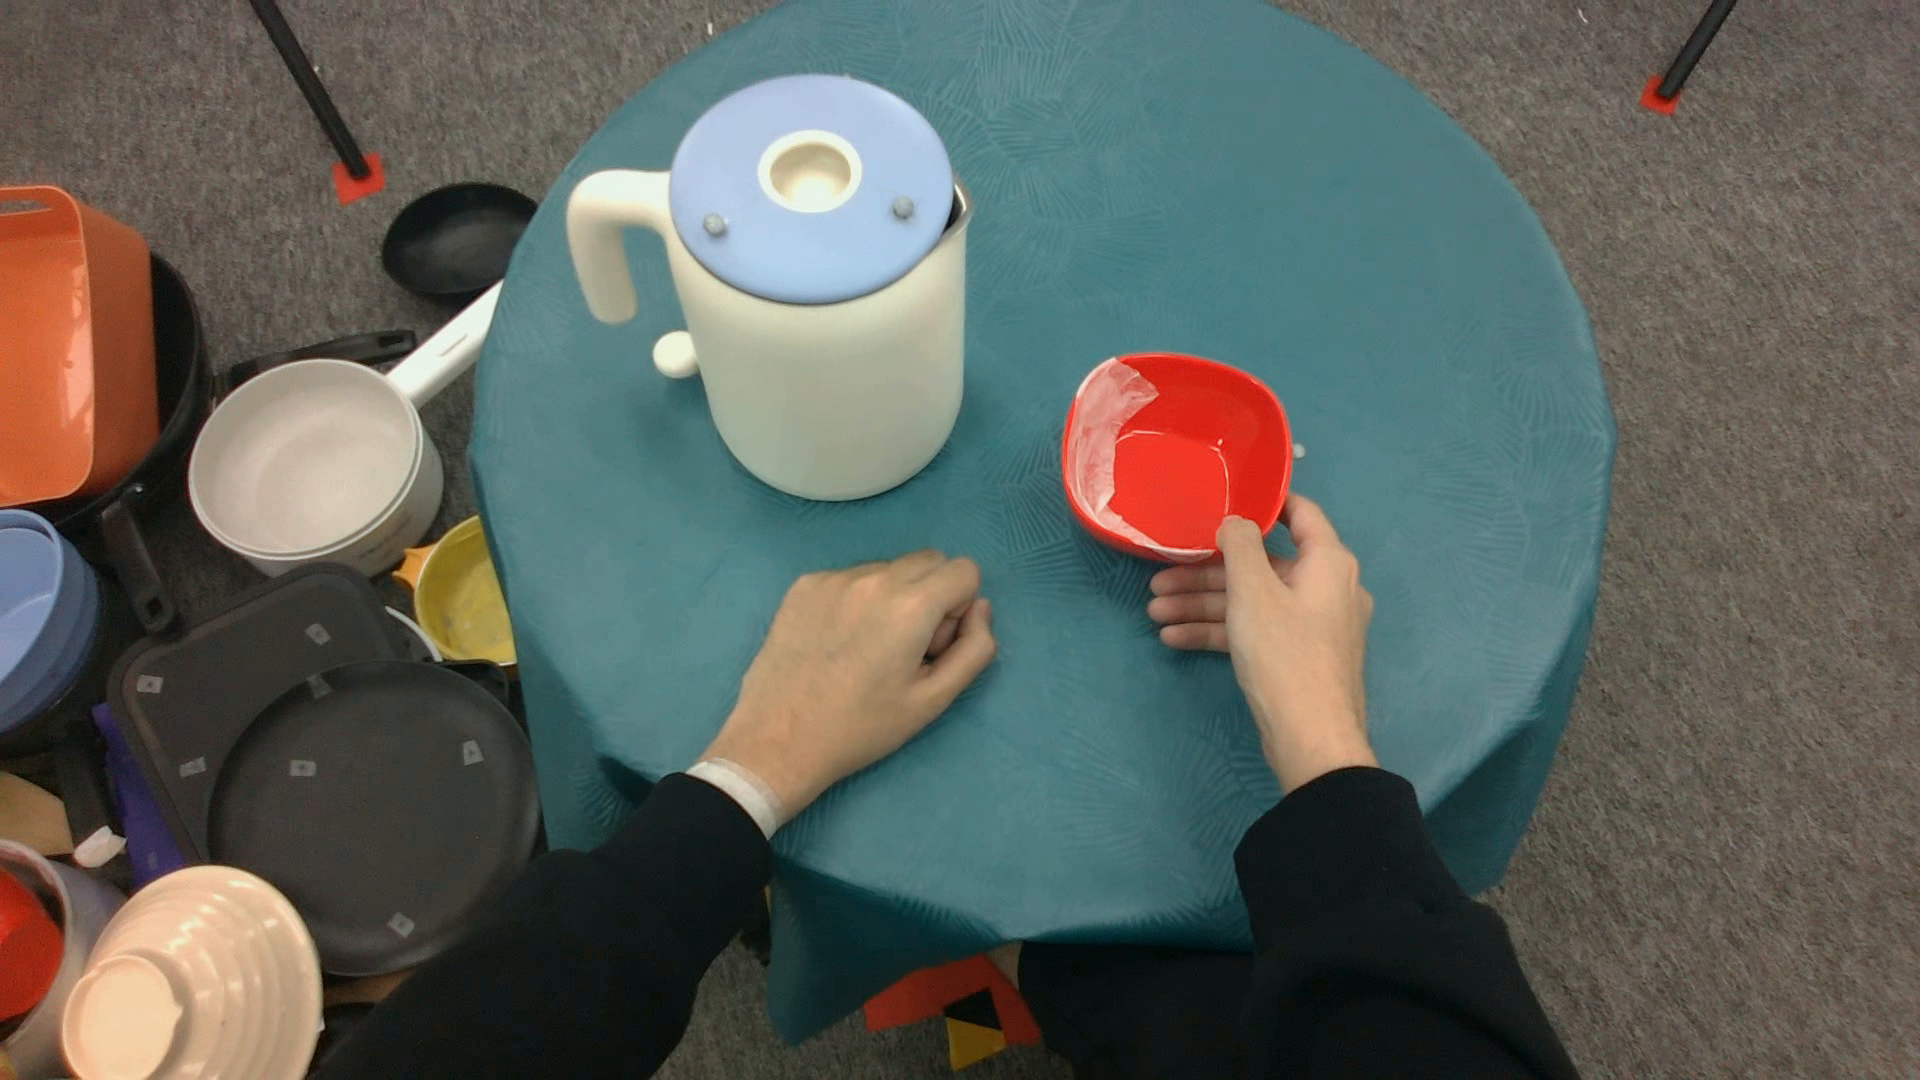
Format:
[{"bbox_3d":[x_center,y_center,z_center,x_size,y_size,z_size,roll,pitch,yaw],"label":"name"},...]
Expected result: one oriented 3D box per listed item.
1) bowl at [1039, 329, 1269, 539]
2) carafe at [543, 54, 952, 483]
[{"bbox_3d":[0.091,-0.044,0.679,0.119,0.051,0.119,2,62,-4],"label":"bowl"},{"bbox_3d":[-0.097,-0.124,0.647,0.191,0.182,0.133,5,63,3],"label":"carafe"}]
